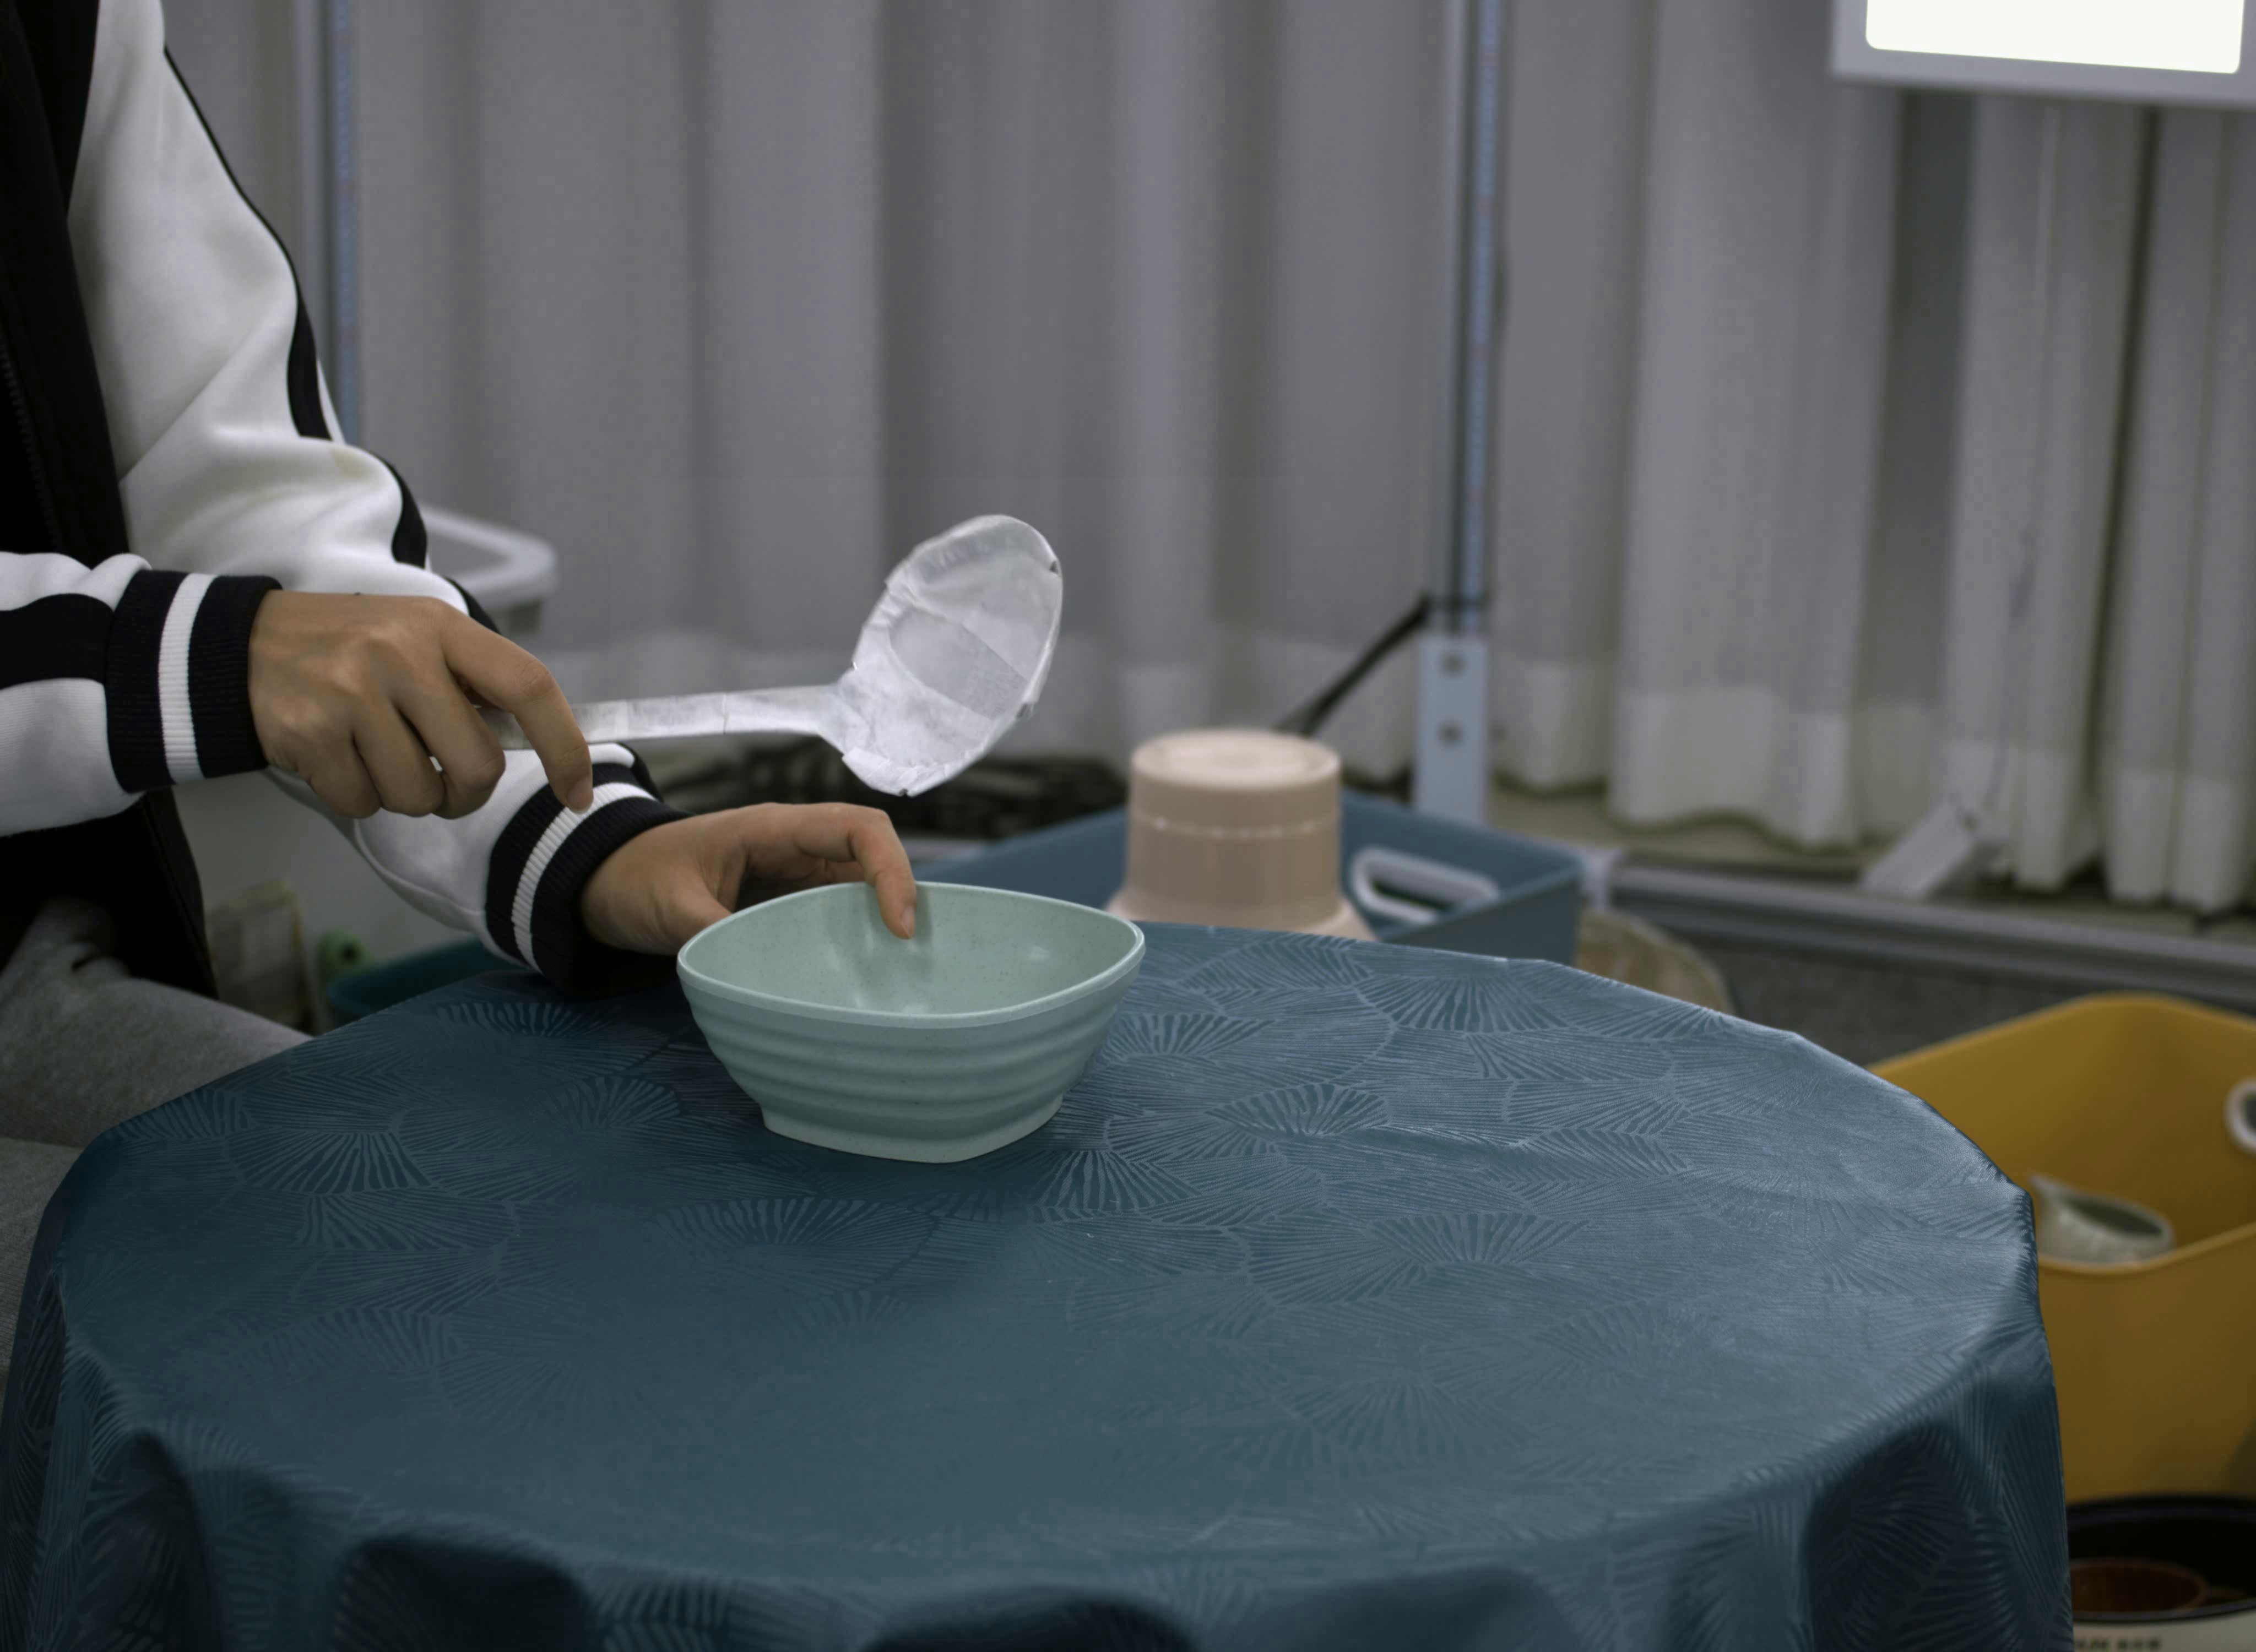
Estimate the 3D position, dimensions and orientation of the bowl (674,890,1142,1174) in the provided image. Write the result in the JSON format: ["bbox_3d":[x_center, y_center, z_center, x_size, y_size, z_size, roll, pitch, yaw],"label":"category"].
[{"bbox_3d":[-0.070,0.068,1.682,0.151,0.059,0.150,1,15,0],"label":"bowl"}]

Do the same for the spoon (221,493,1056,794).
[{"bbox_3d":[-0.153,-0.055,1.612,0.275,0.060,0.100,0,58,10],"label":"spoon"}]
